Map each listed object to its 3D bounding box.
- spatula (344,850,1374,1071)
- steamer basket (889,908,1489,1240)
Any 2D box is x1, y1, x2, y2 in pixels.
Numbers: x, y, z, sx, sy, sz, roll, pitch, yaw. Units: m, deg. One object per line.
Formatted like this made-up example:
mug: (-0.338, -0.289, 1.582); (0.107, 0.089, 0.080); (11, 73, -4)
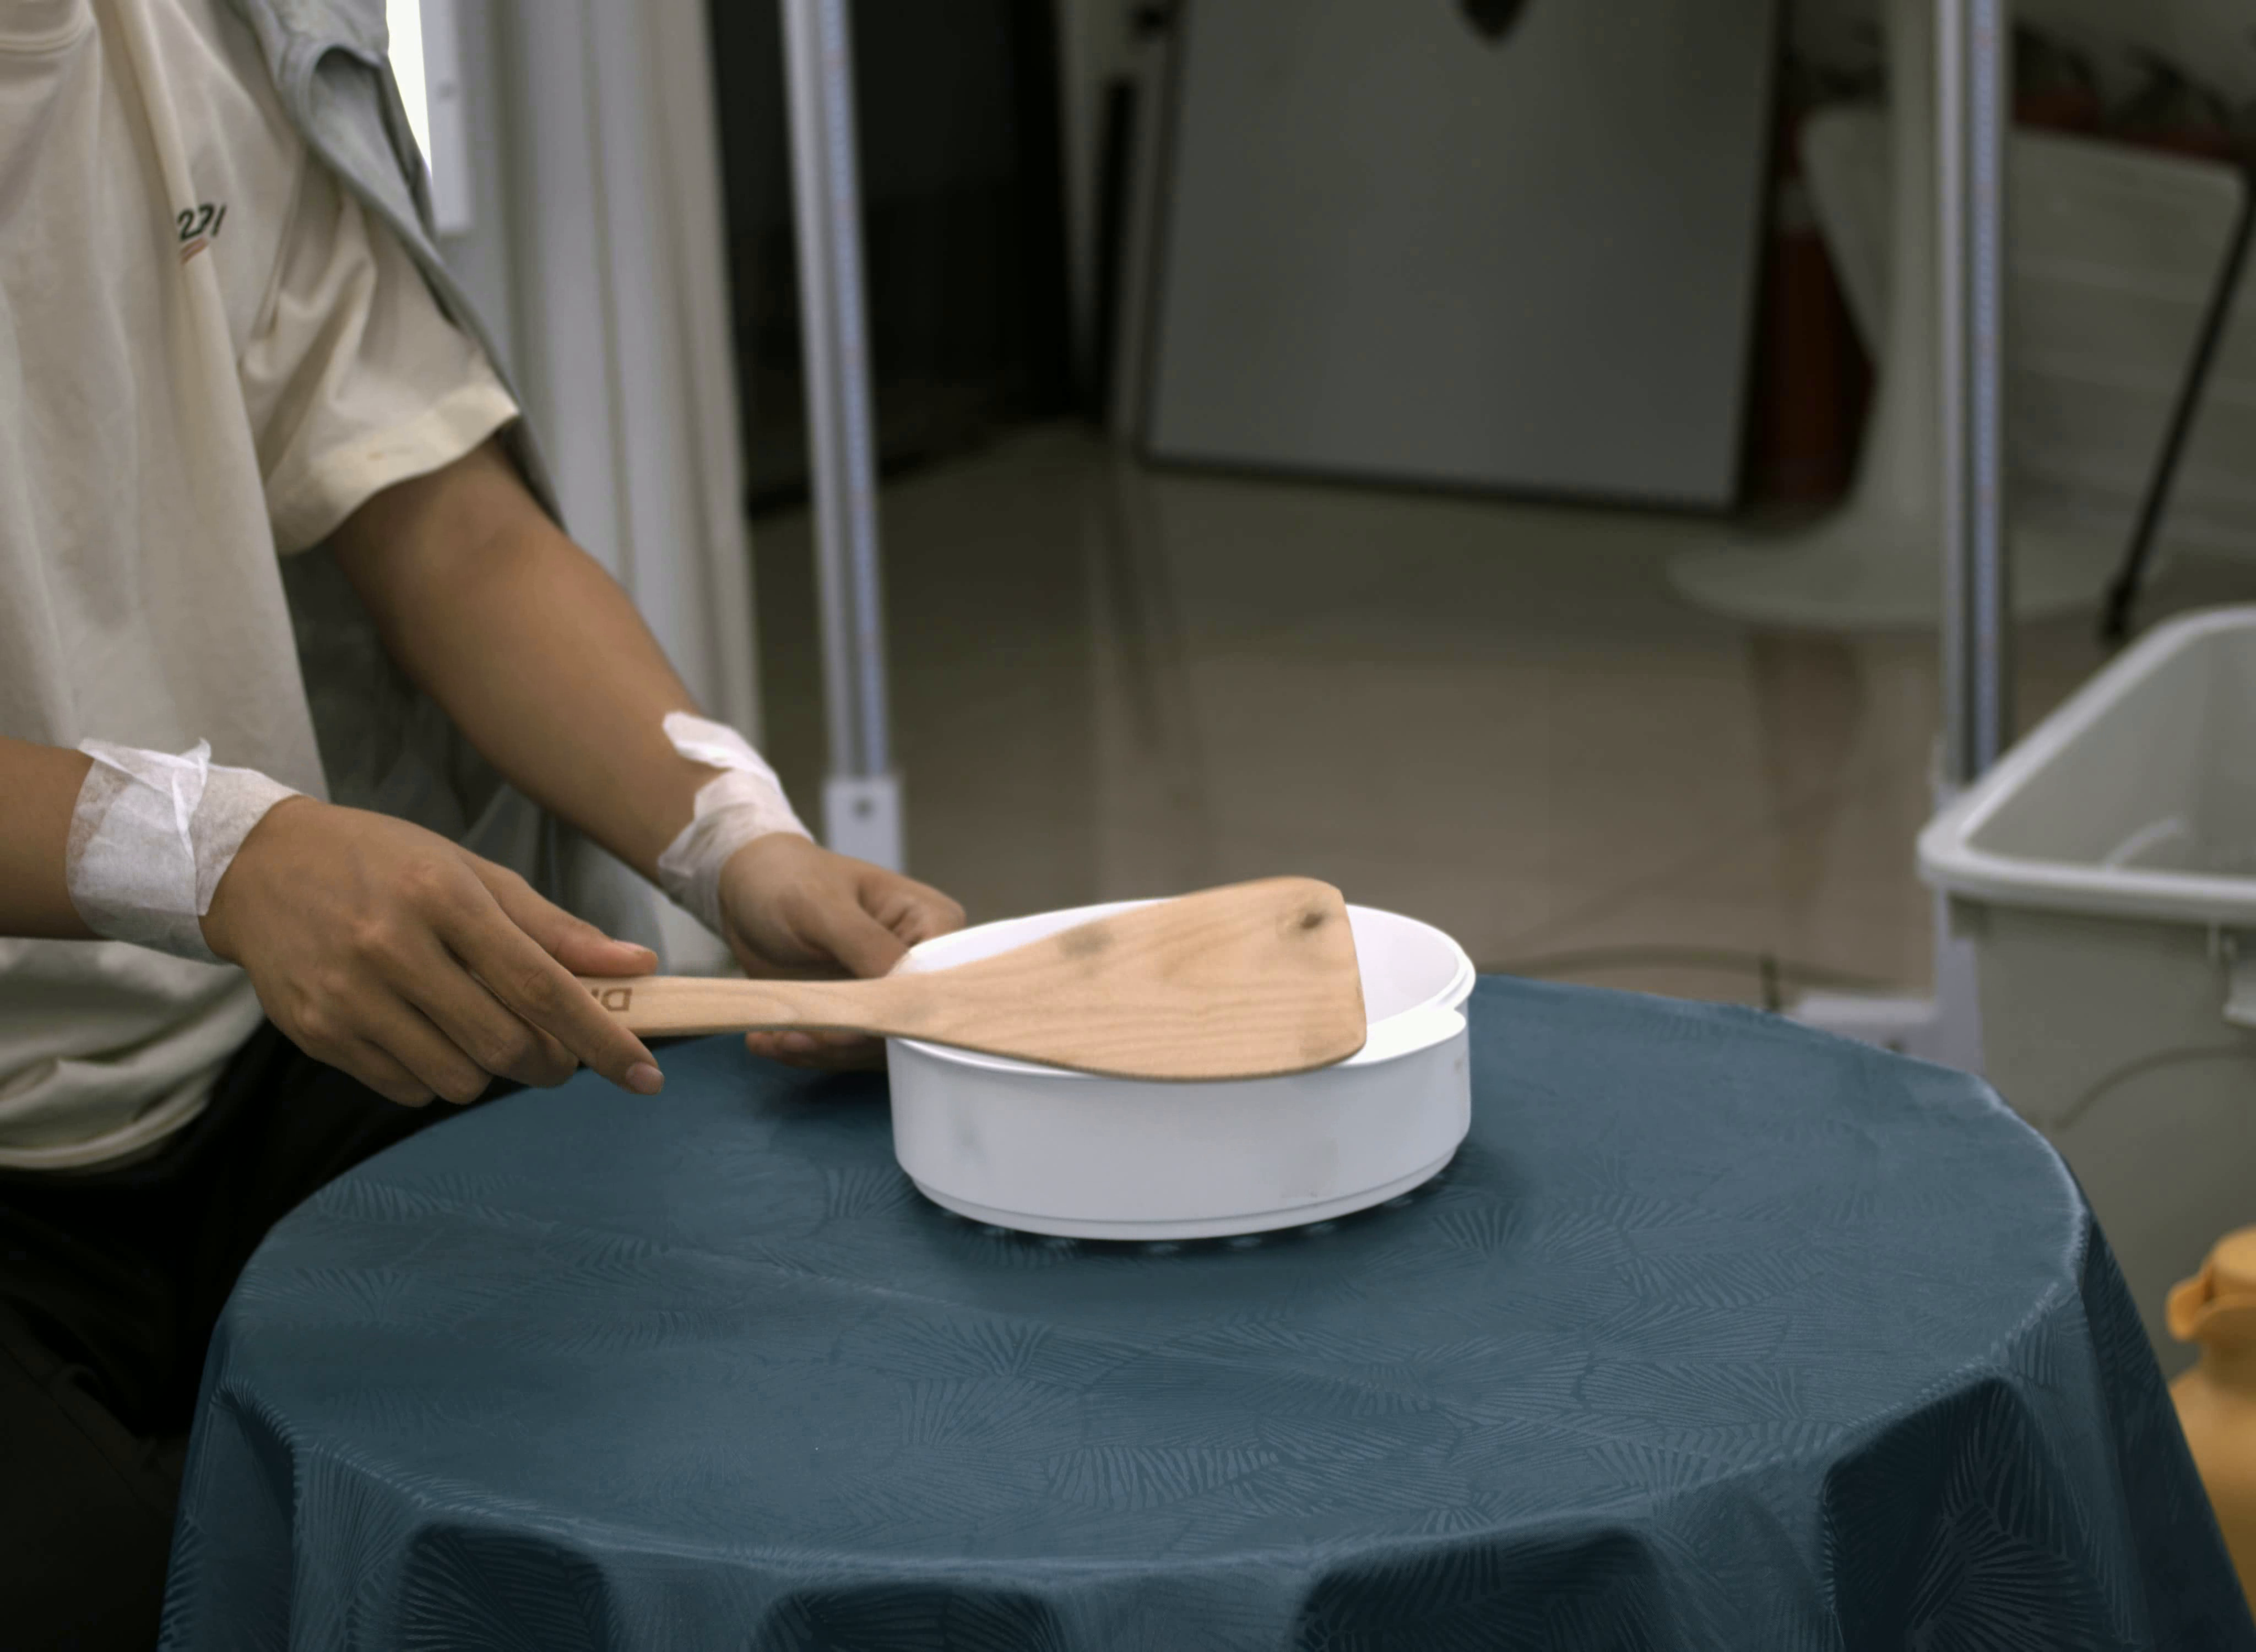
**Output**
spatula: (-0.084, 0.049, 1.655); (0.325, 0.016, 0.080); (-4, 49, 10)
steamer basket: (0.020, 0.081, 1.784); (0.197, 0.070, 0.233); (-12, 17, -40)
